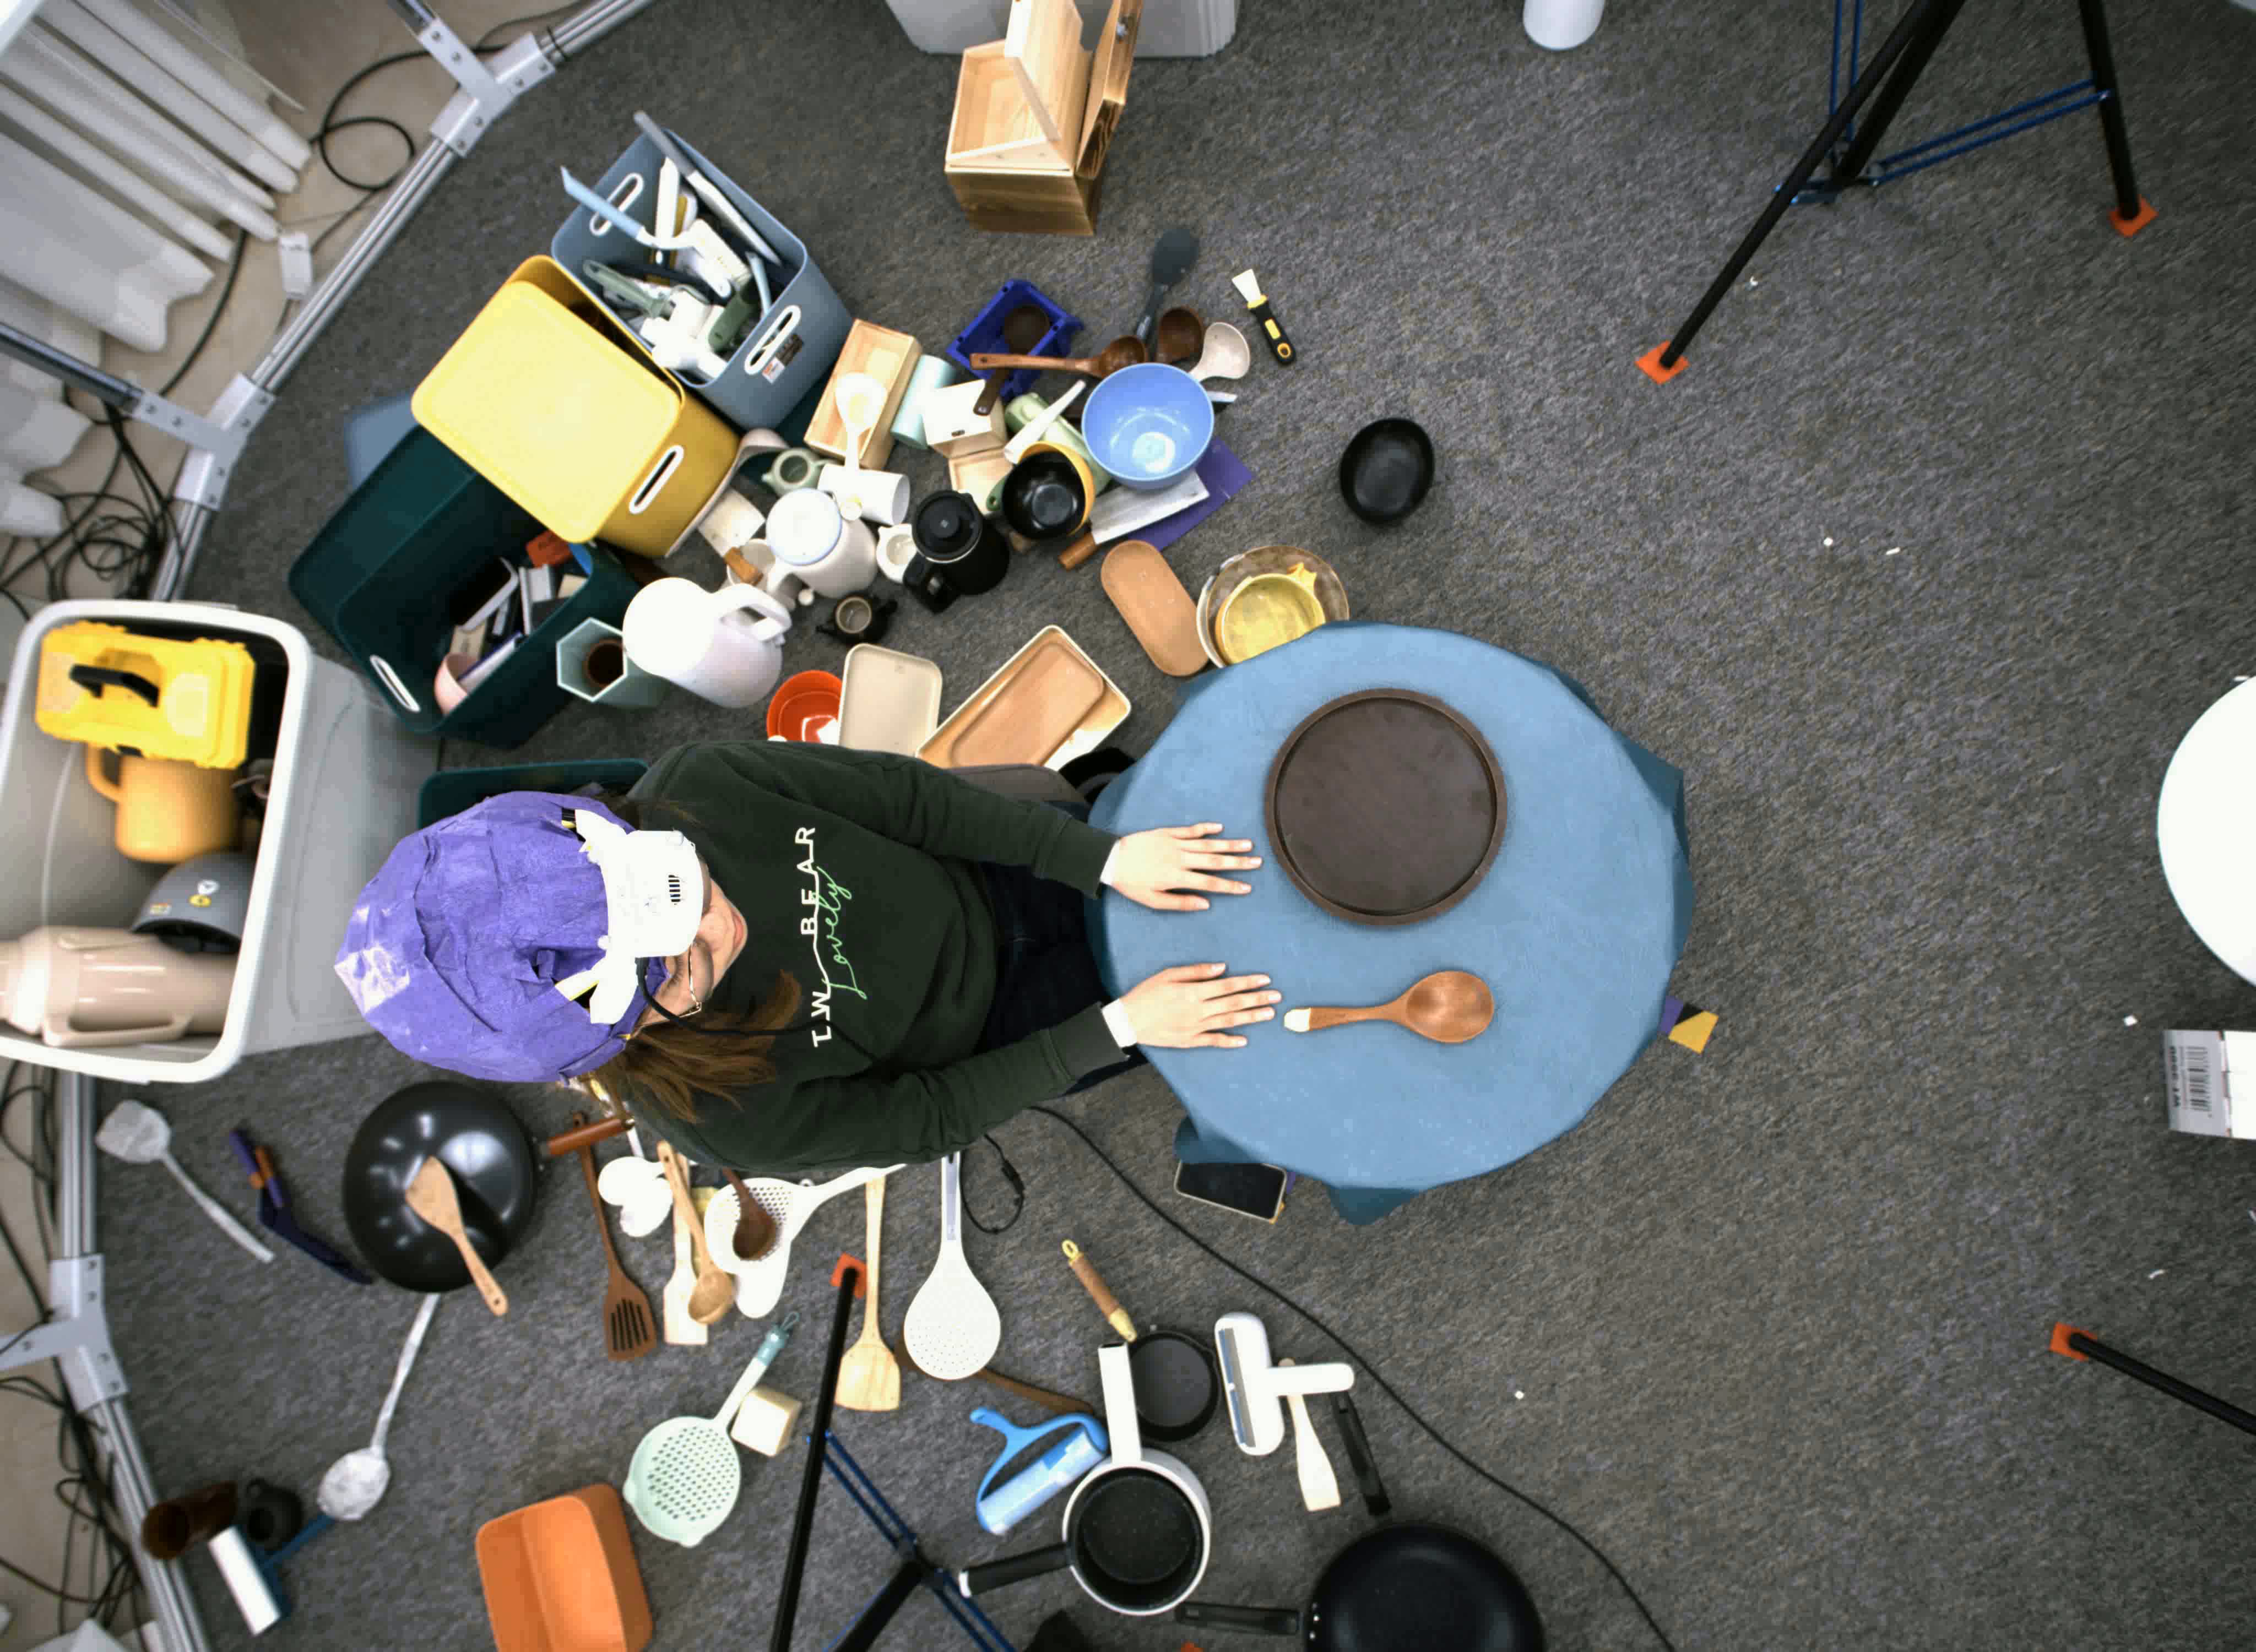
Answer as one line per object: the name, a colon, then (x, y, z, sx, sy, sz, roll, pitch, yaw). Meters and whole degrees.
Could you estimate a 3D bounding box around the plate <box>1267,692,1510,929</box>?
plate: (0.274, -0.018, 1.459, 0.256, 0.029, 0.253, -1, 86, 9)

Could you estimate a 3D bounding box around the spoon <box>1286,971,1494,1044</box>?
spoon: (0.273, 0.195, 1.447, 0.217, 0.017, 0.075, -7, 85, 10)
